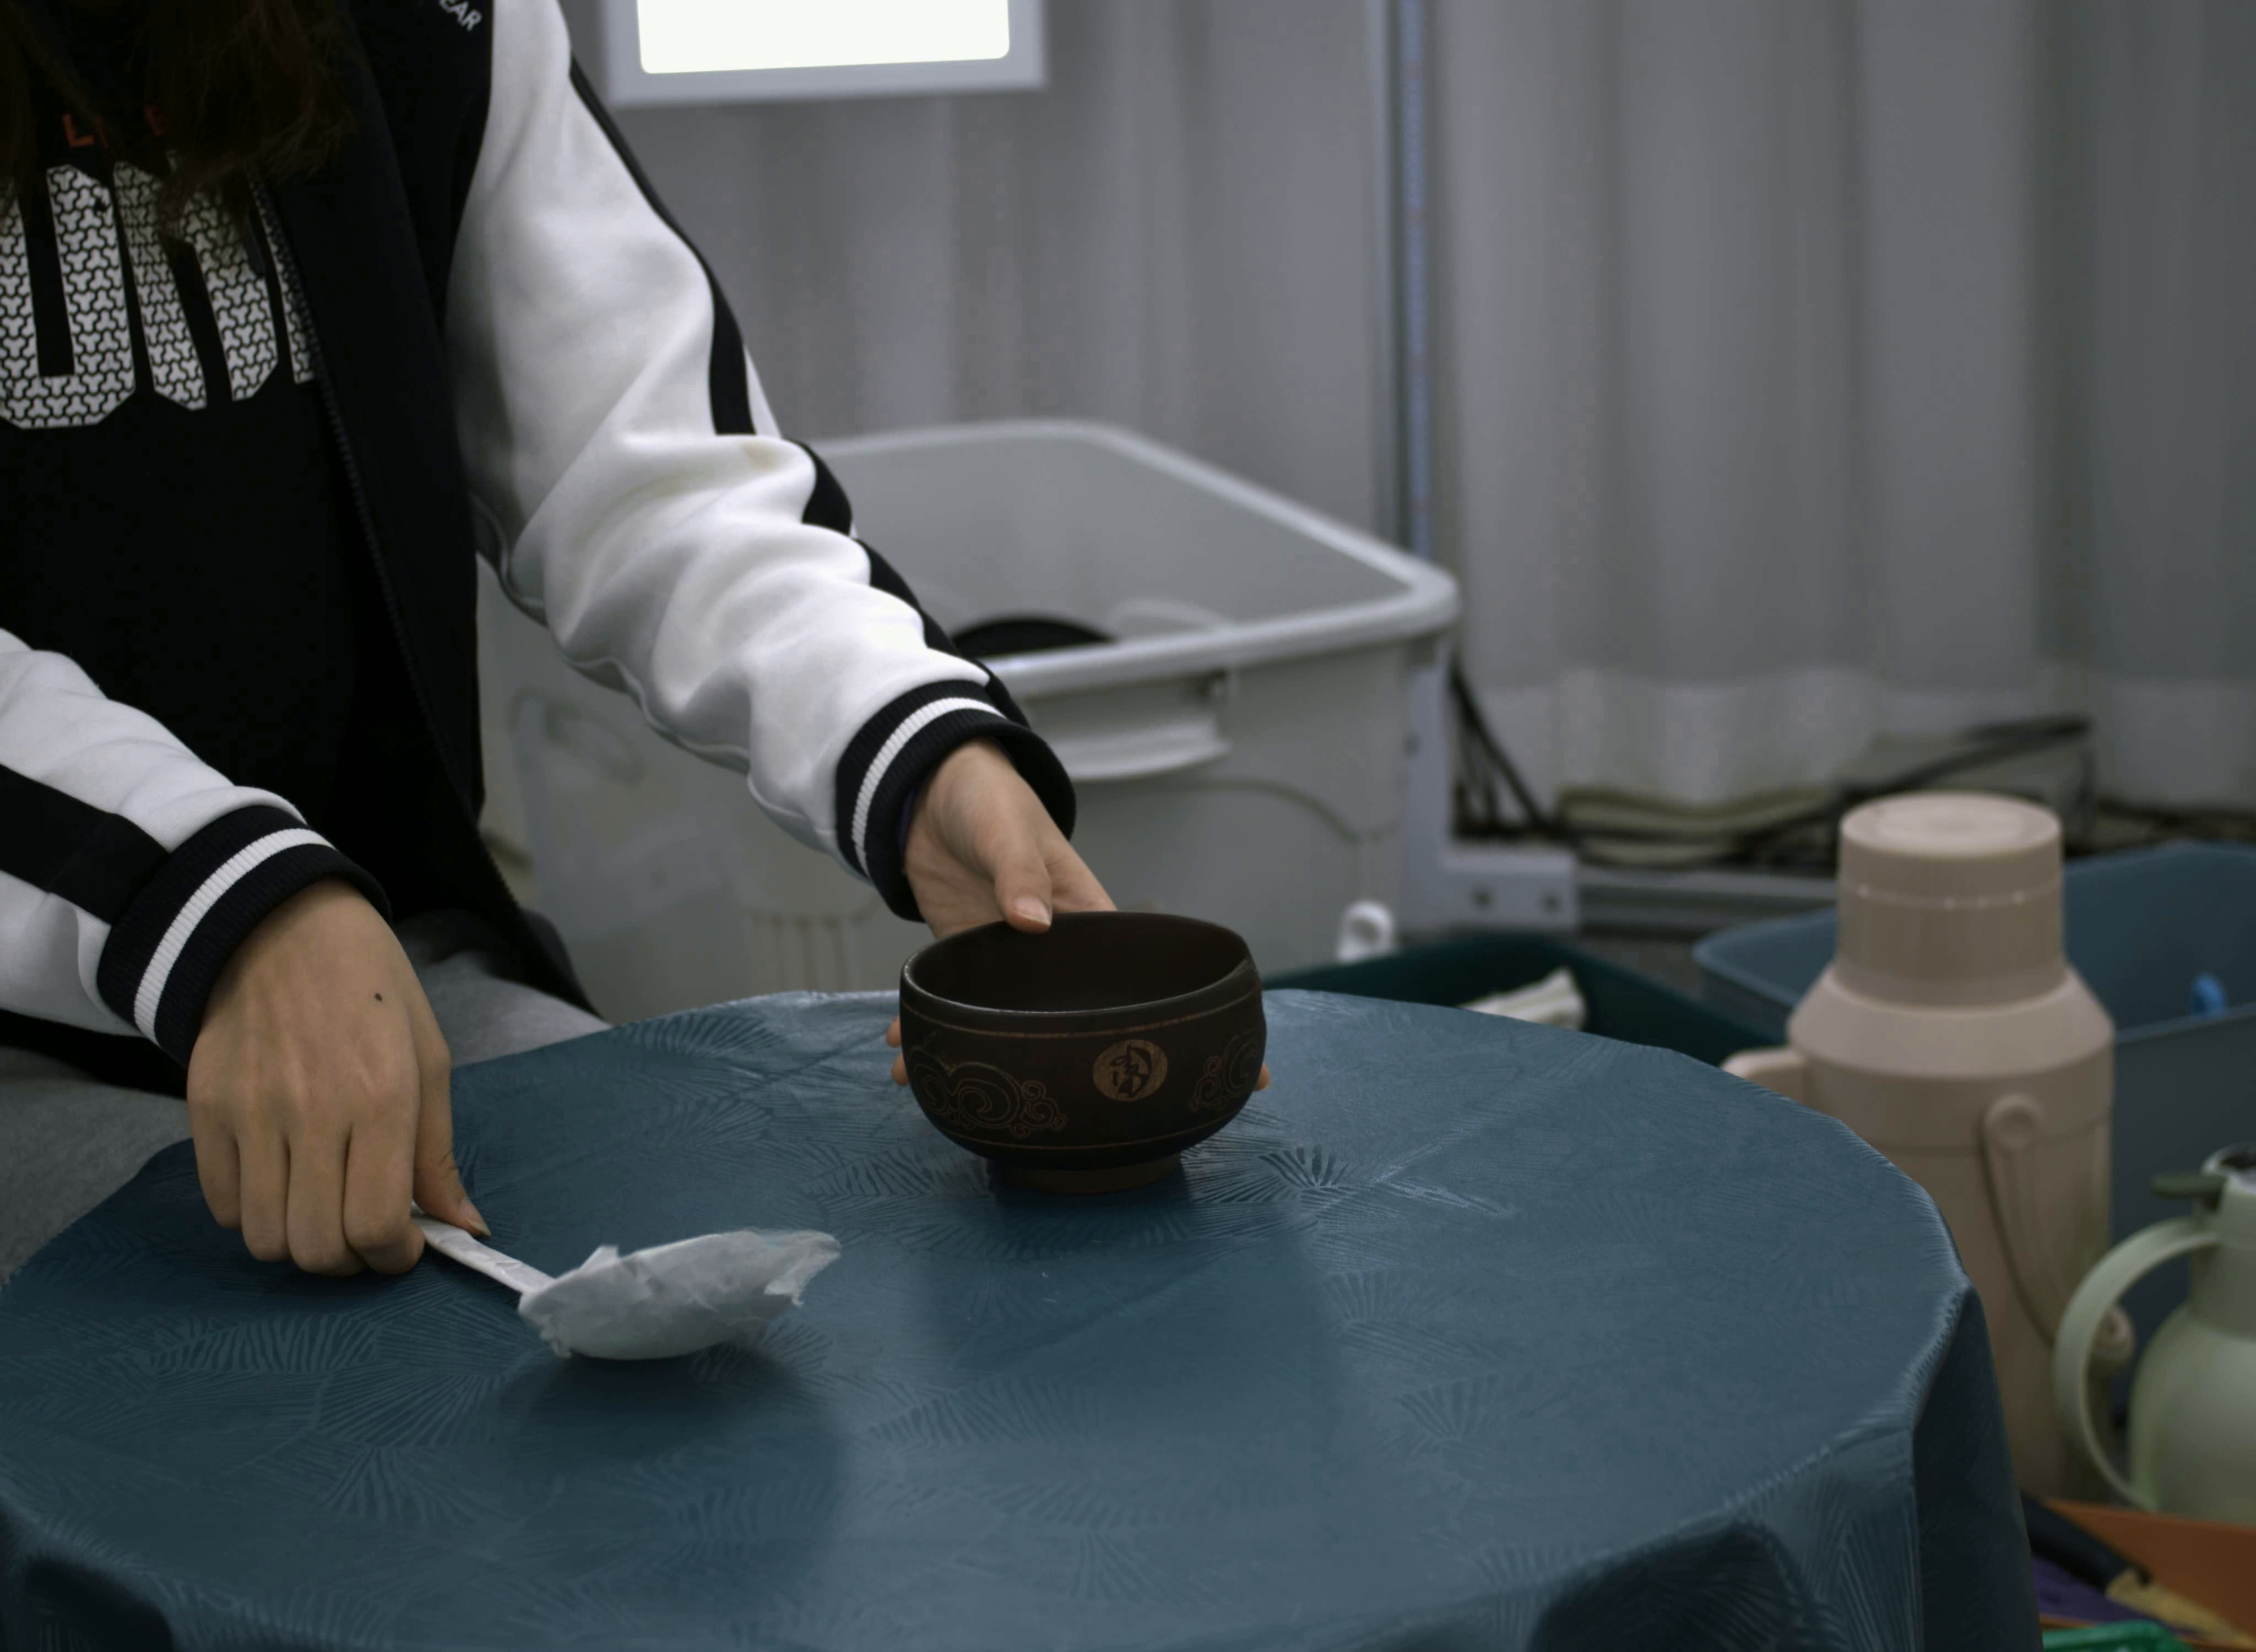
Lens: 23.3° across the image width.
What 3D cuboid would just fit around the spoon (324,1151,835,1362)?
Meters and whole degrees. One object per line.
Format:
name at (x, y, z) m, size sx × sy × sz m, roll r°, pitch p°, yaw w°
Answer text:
spoon at (-0.178, 0.111, 1.651) m, size 0.100 × 0.059 × 0.279 m, roll -1°, pitch 12°, yaw -31°

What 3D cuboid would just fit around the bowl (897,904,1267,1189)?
bowl at (-0.014, 0.073, 1.731) m, size 0.117 × 0.069 × 0.119 m, roll -3°, pitch 14°, yaw 0°
